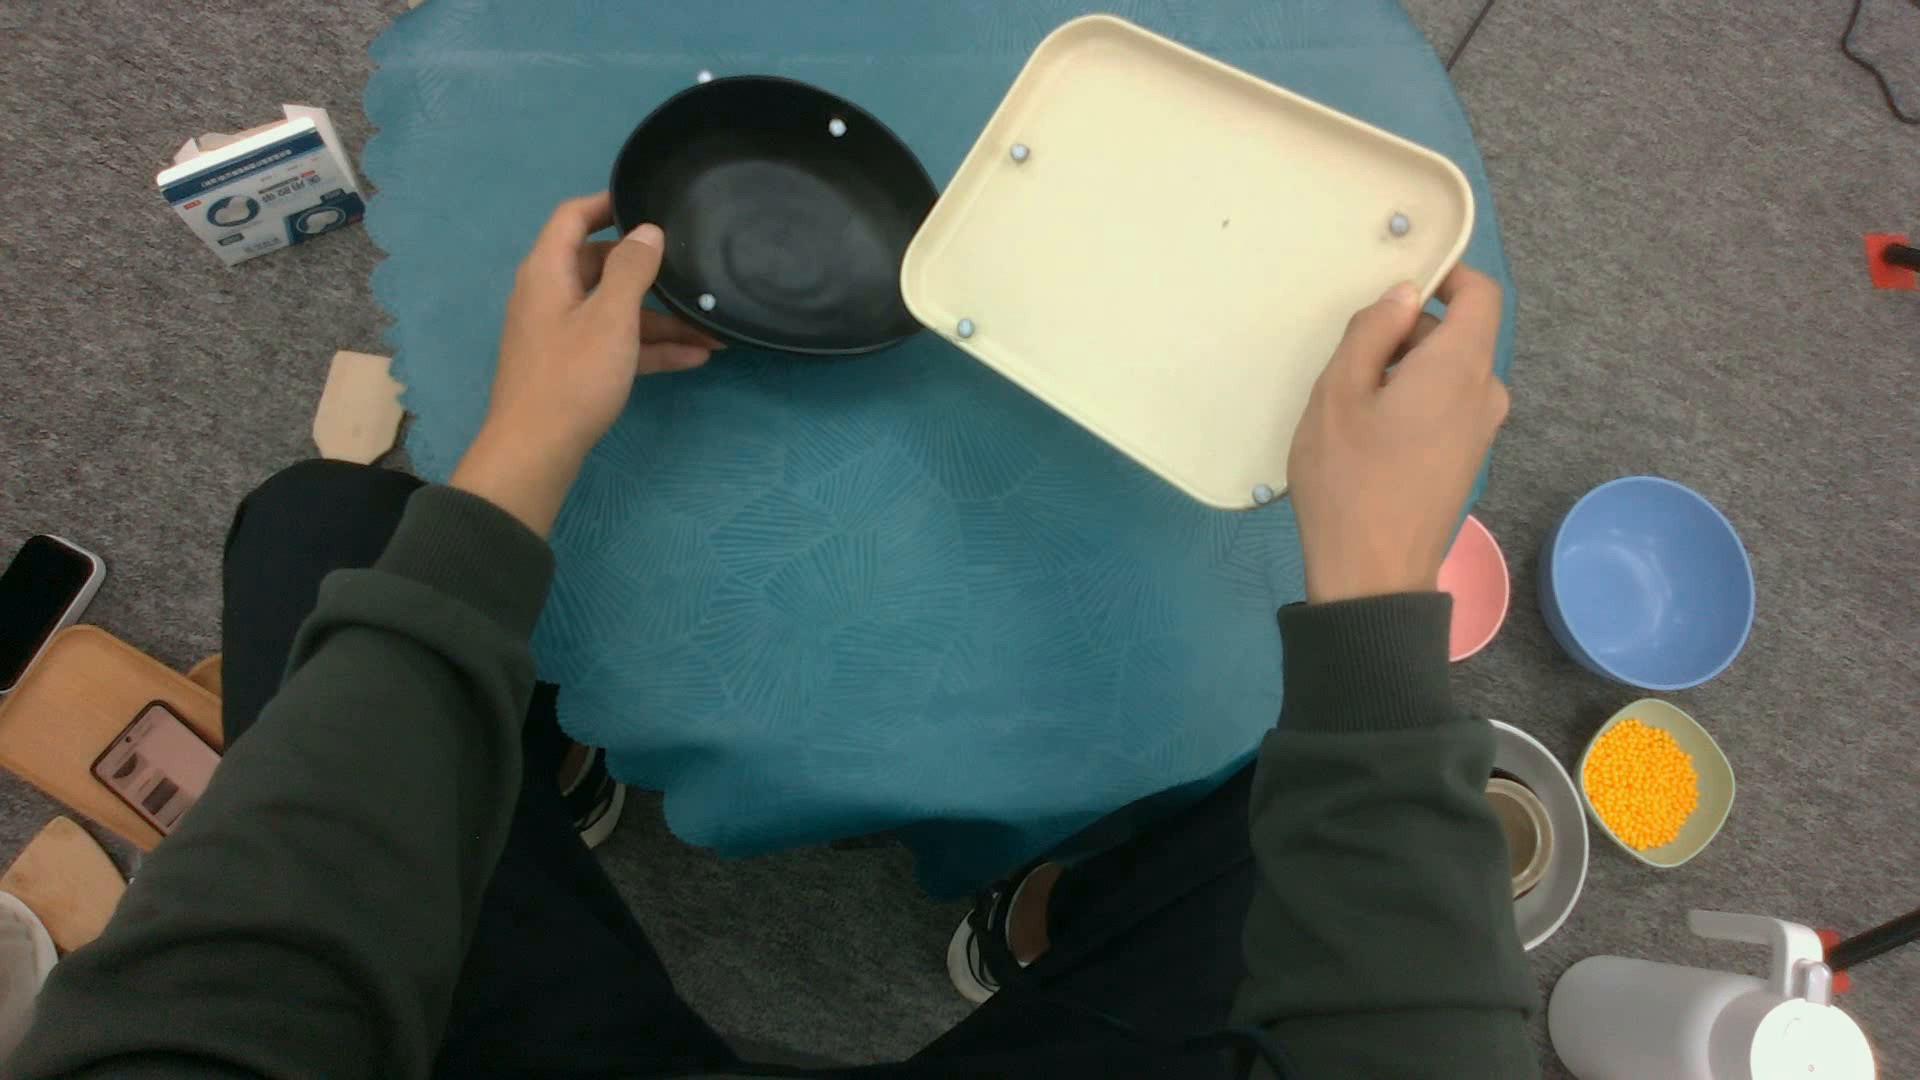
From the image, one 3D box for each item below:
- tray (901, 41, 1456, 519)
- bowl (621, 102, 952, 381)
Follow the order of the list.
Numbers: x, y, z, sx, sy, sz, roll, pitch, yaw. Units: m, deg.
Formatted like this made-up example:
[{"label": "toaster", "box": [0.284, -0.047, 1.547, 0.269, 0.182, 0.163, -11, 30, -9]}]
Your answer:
[{"label": "tray", "box": [0.090, -0.126, 0.635, 0.240, 0.017, 0.171, 36, 95, 32]}, {"label": "bowl", "box": [-0.087, -0.144, 0.704, 0.170, 0.066, 0.137, 17, 77, -12]}]
